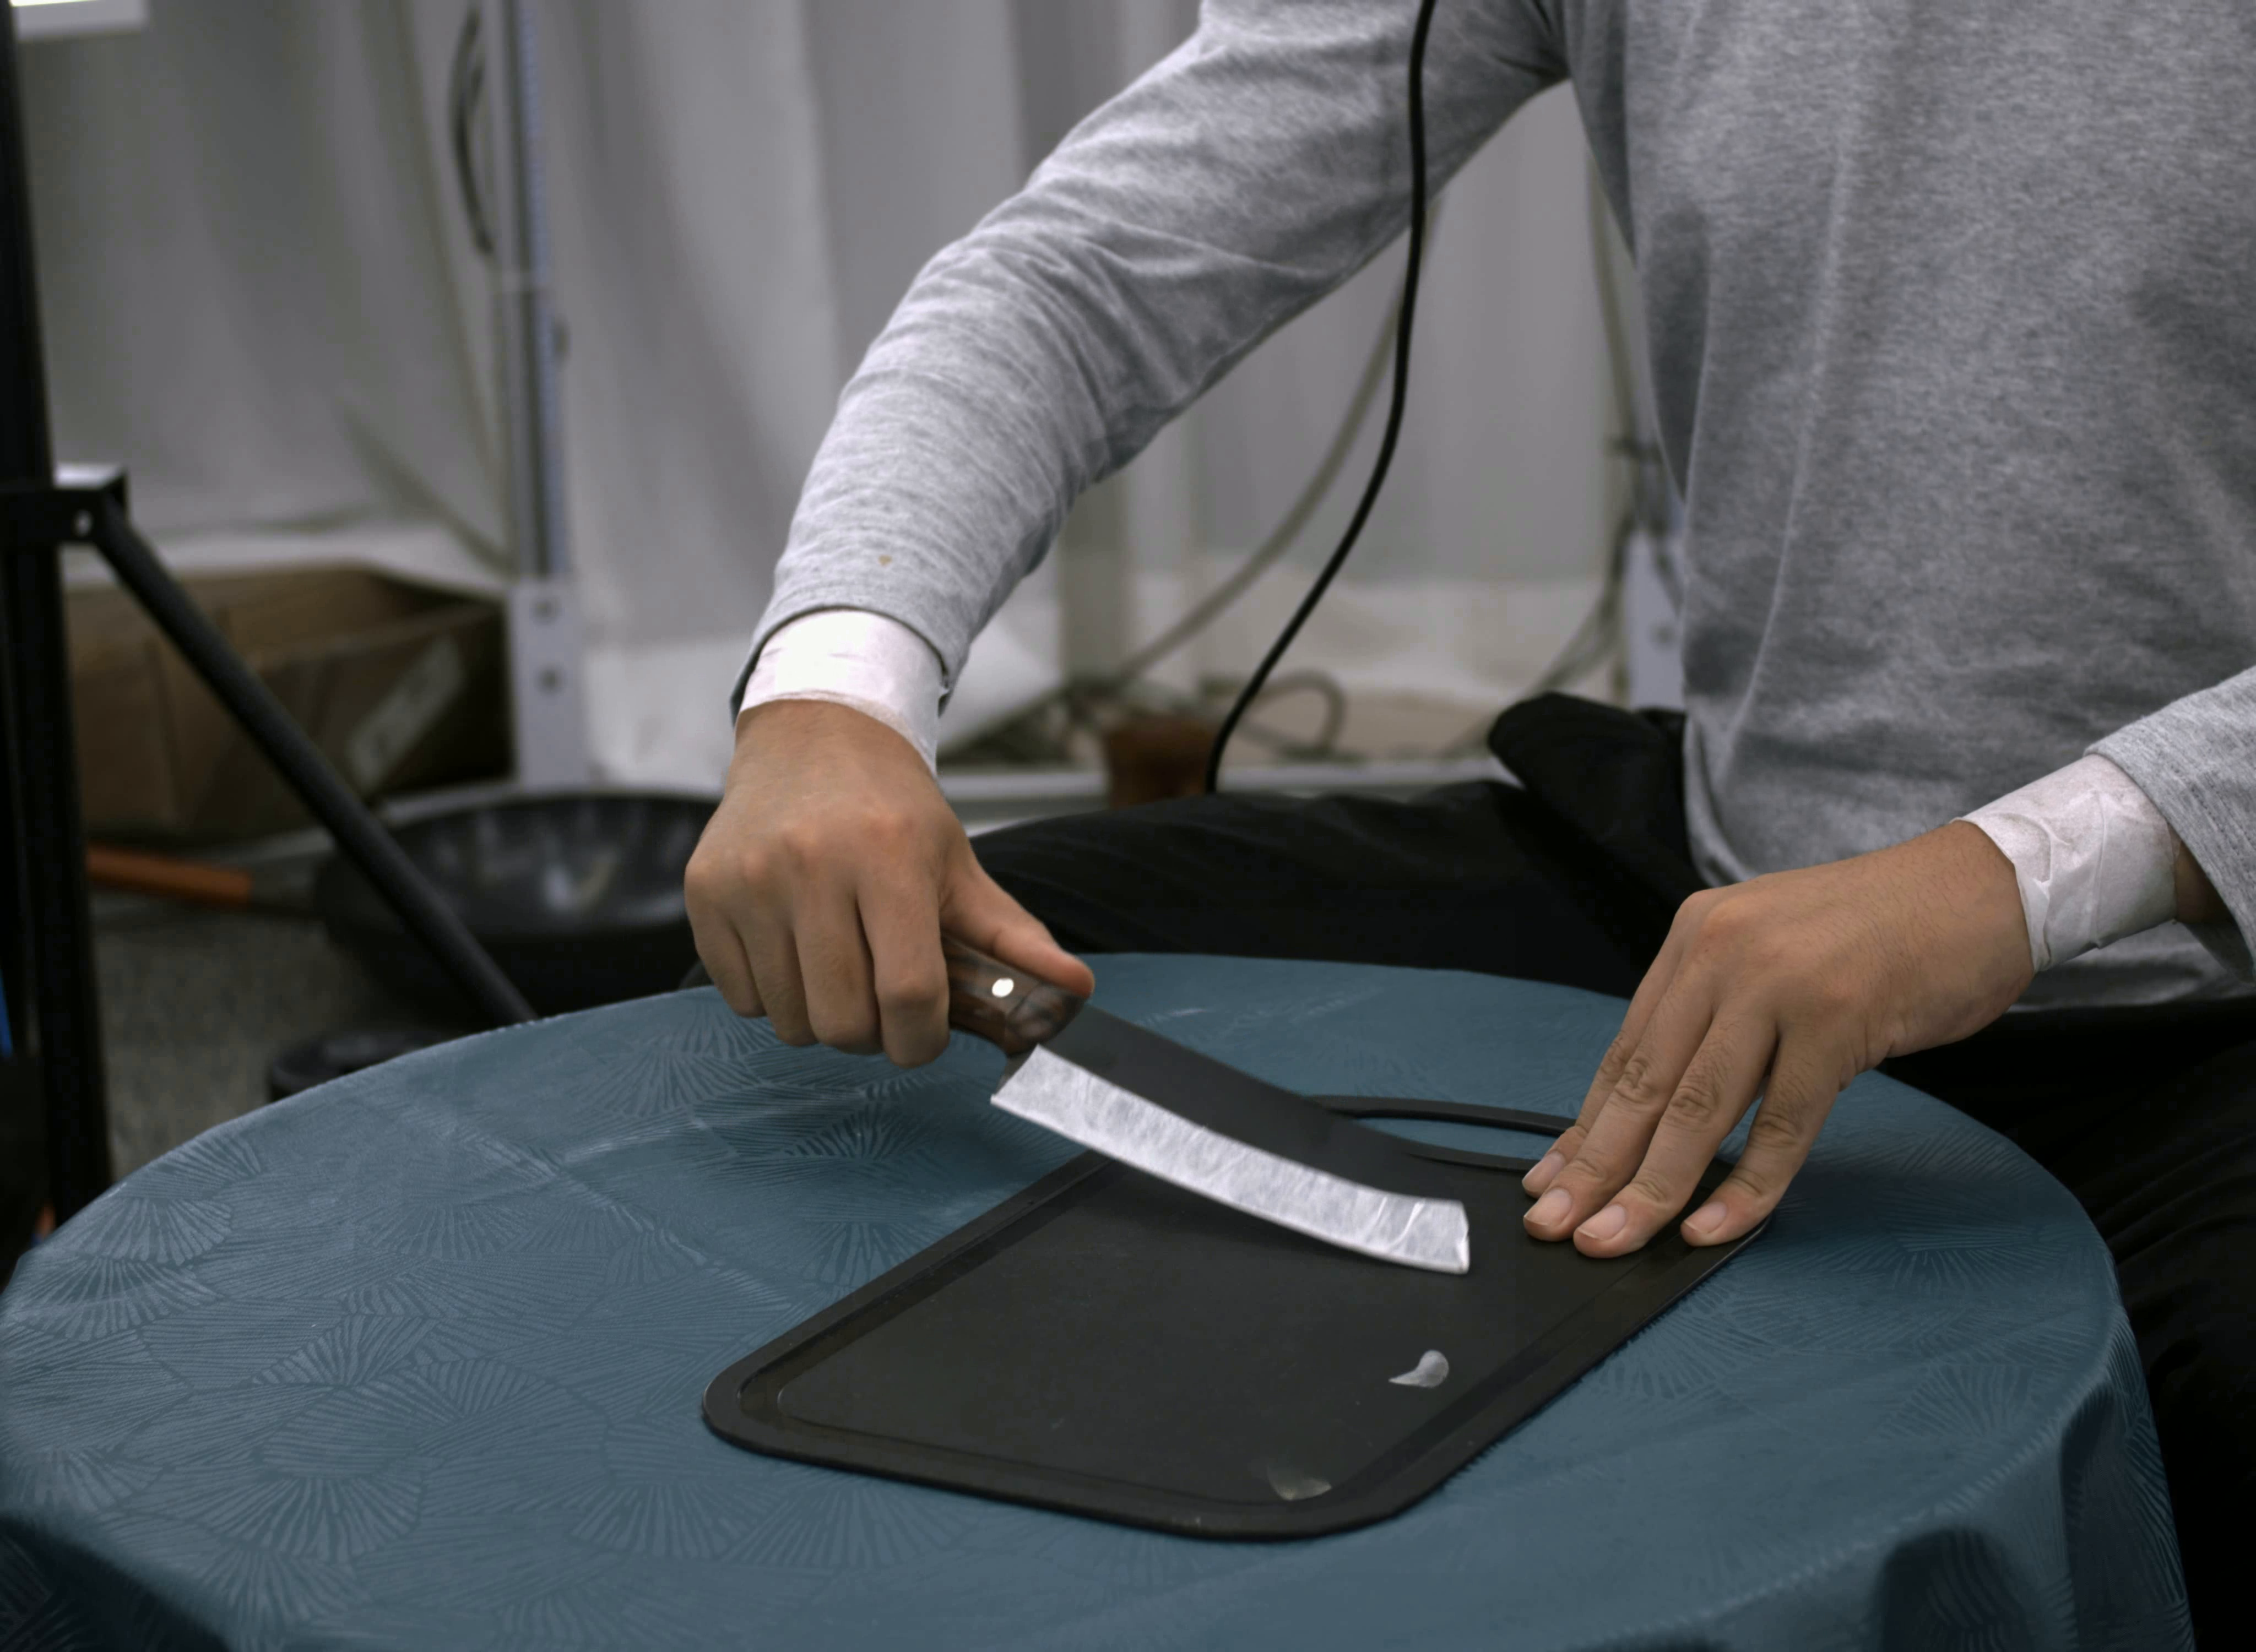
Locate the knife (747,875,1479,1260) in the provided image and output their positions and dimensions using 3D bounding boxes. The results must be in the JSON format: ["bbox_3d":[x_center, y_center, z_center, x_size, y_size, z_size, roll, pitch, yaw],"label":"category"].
[{"bbox_3d":[-0.009,0.070,1.567,0.295,0.020,0.050,24,60,37],"label":"knife"}]

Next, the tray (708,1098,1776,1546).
[{"bbox_3d":[0.041,0.128,1.475,0.215,0.010,0.319,7,18,31],"label":"tray"}]
